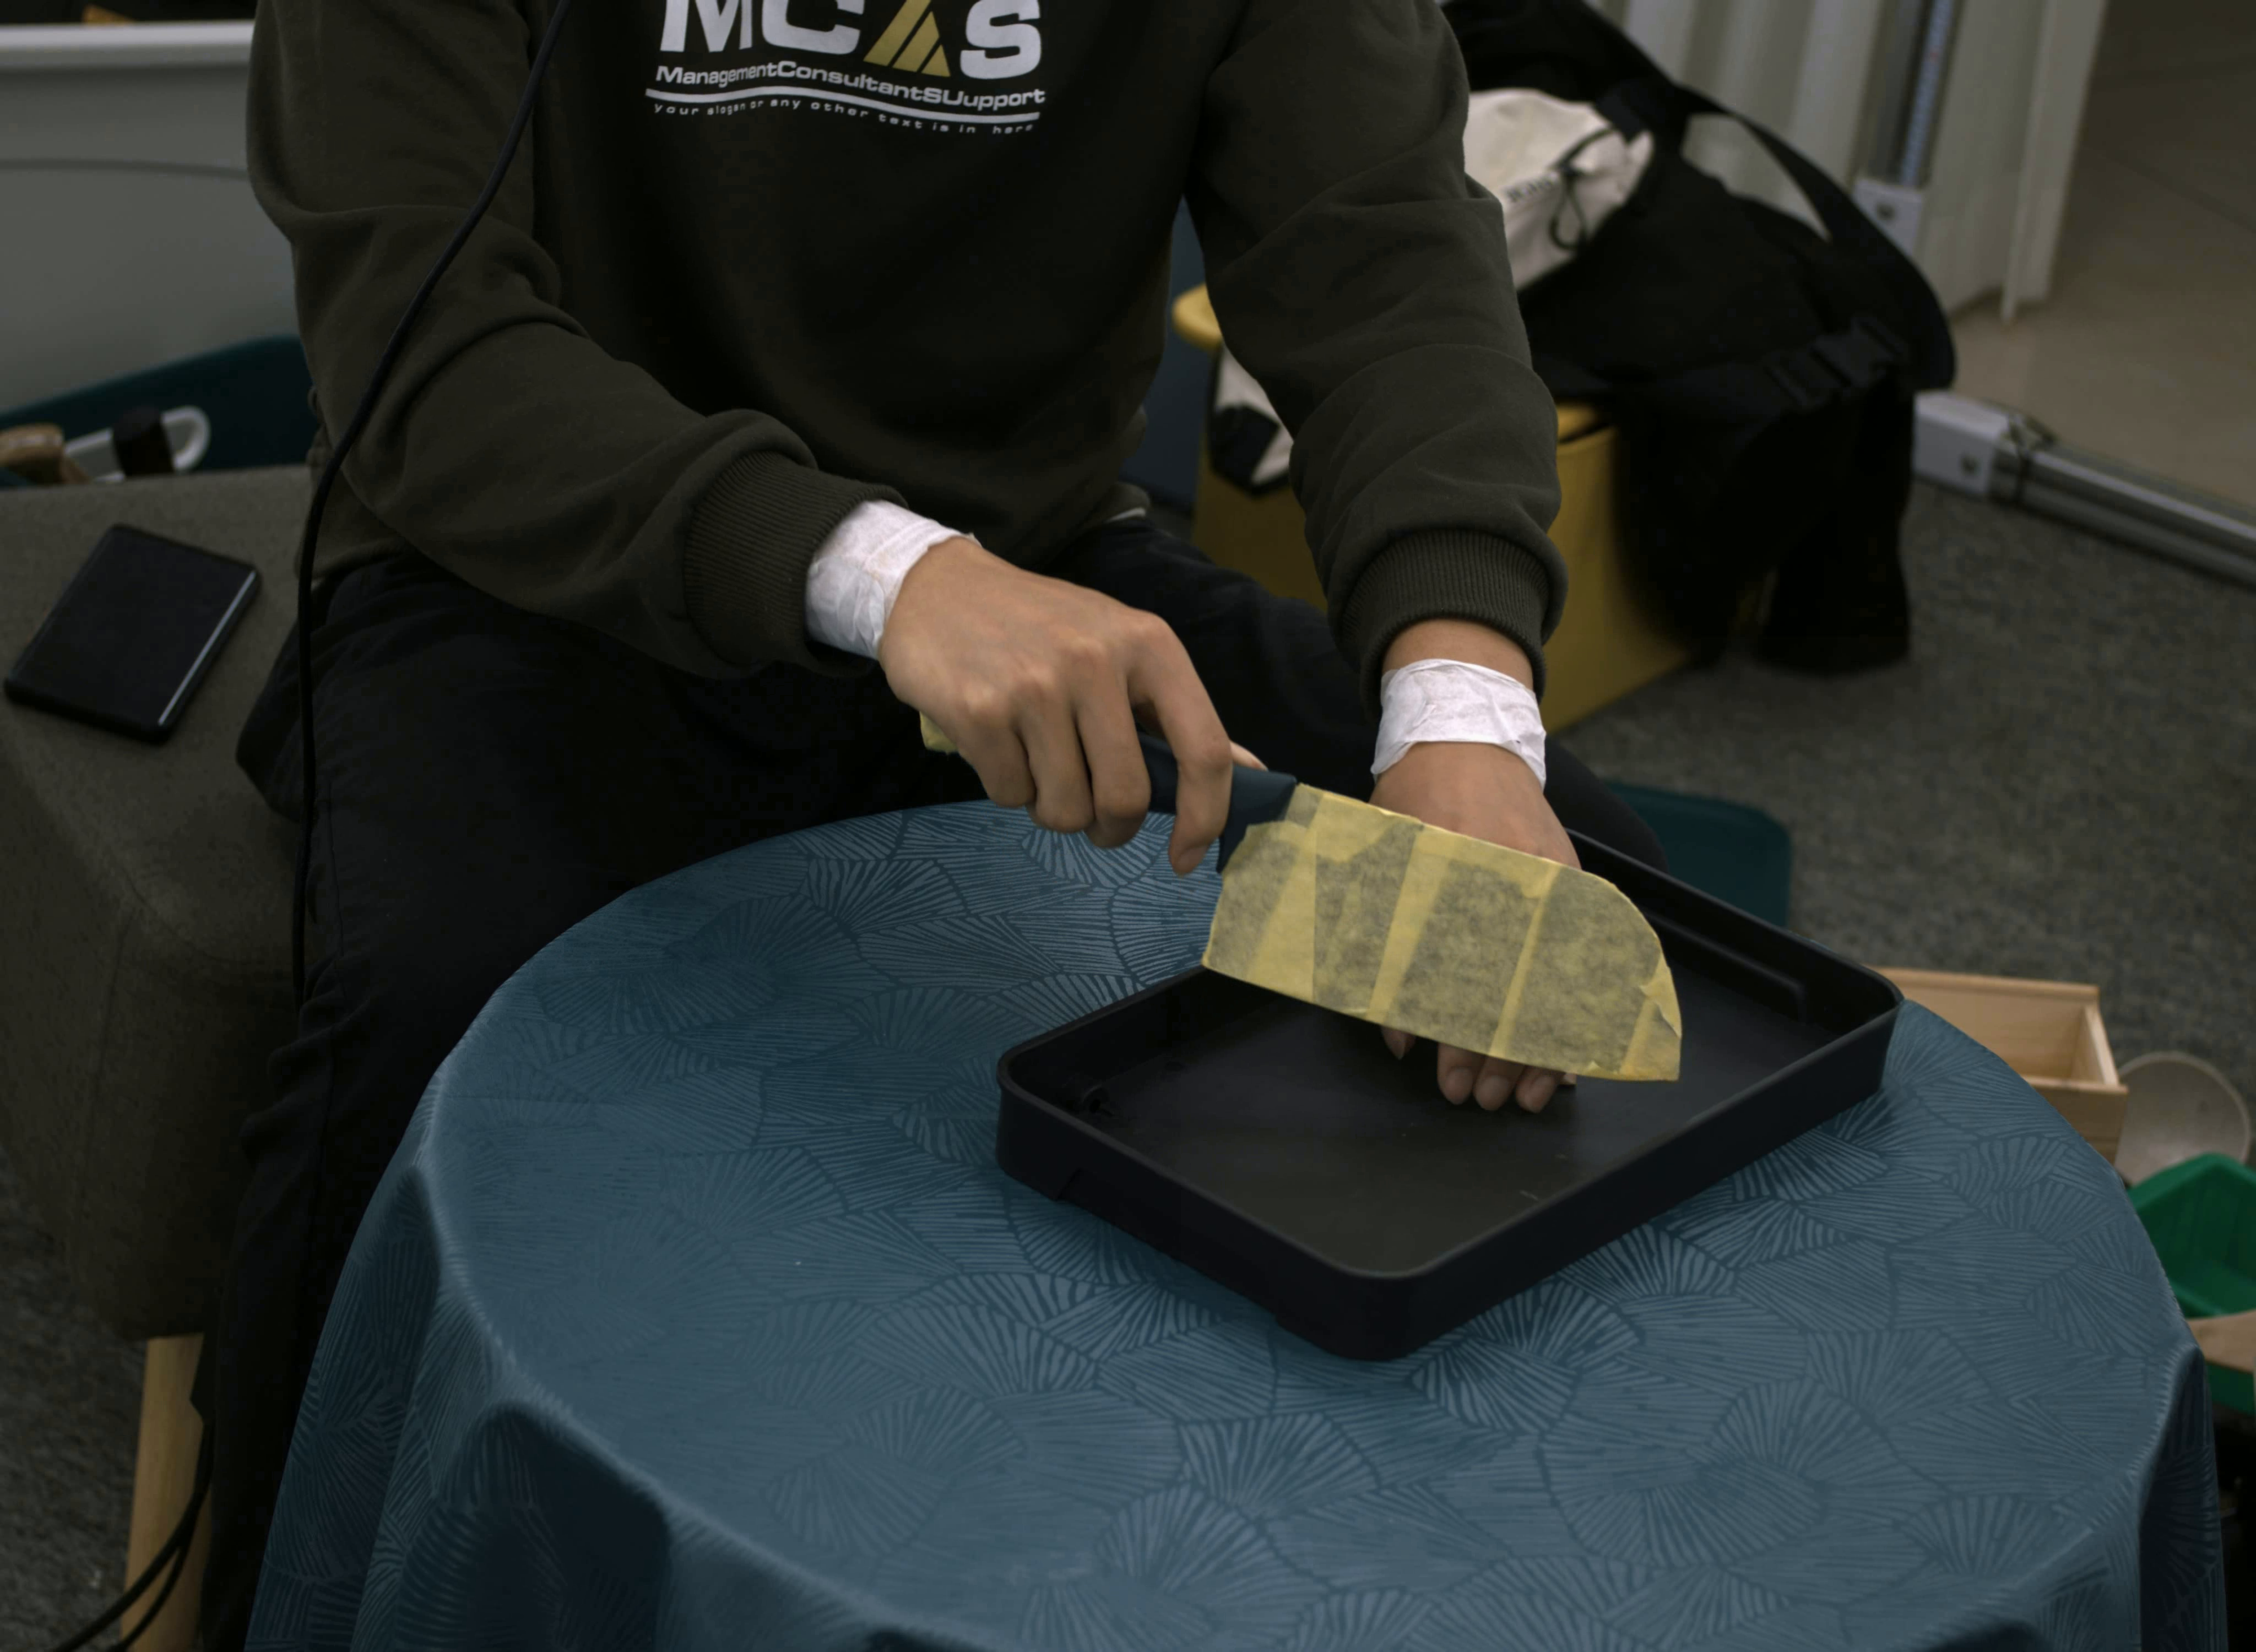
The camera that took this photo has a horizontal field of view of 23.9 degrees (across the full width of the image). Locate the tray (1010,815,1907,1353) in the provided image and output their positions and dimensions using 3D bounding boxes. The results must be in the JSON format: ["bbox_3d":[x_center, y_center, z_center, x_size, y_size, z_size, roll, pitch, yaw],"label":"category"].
[{"bbox_3d":[0.119,0.084,1.869,0.185,0.037,0.316,25,32,33],"label":"tray"}]

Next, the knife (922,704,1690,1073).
[{"bbox_3d":[0.060,0.021,1.859,0.289,0.081,0.027,20,4,5],"label":"knife"}]
